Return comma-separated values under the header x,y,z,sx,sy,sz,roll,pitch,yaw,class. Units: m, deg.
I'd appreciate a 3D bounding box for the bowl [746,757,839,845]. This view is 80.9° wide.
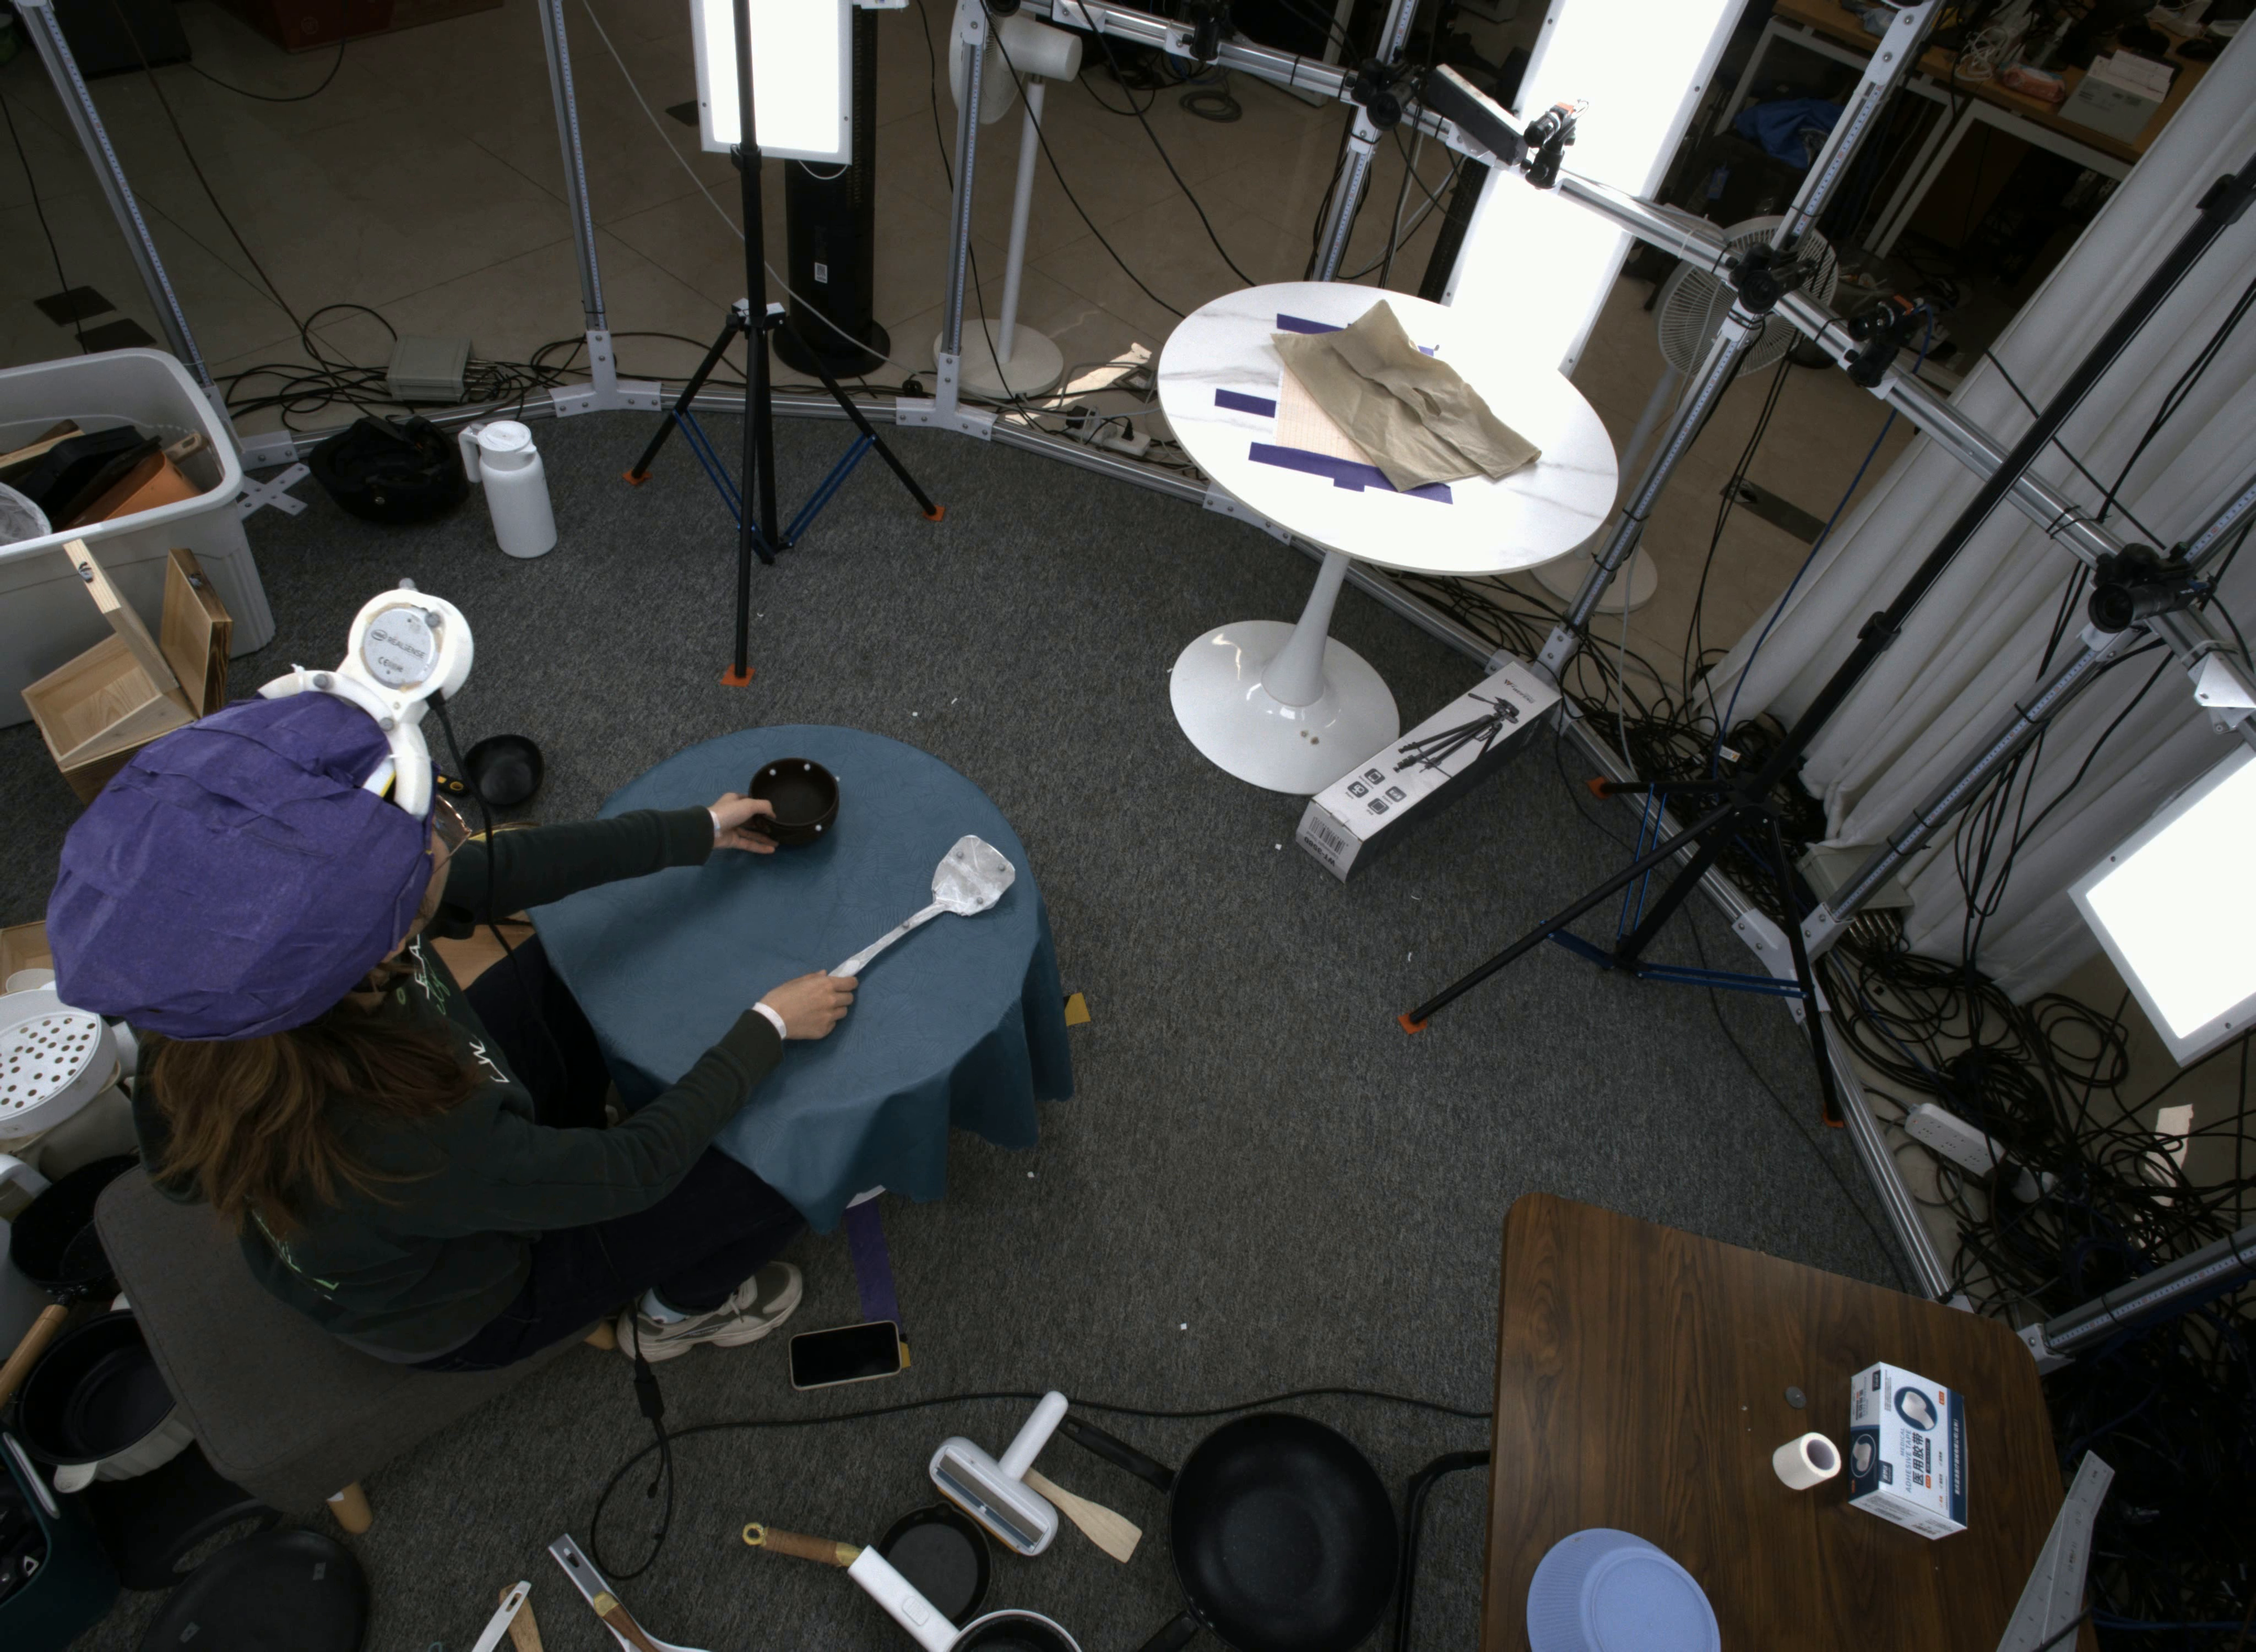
x,y,z,sx,sy,sz,roll,pitch,yaw,class
-0.438,-0.026,1.698,0.117,0.071,0.116,7,52,-7,bowl

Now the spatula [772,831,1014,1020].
x,y,z,sx,sy,sz,roll,pitch,yaw,class
-0.297,0.131,1.638,0.096,0.045,0.365,41,54,16,spatula
